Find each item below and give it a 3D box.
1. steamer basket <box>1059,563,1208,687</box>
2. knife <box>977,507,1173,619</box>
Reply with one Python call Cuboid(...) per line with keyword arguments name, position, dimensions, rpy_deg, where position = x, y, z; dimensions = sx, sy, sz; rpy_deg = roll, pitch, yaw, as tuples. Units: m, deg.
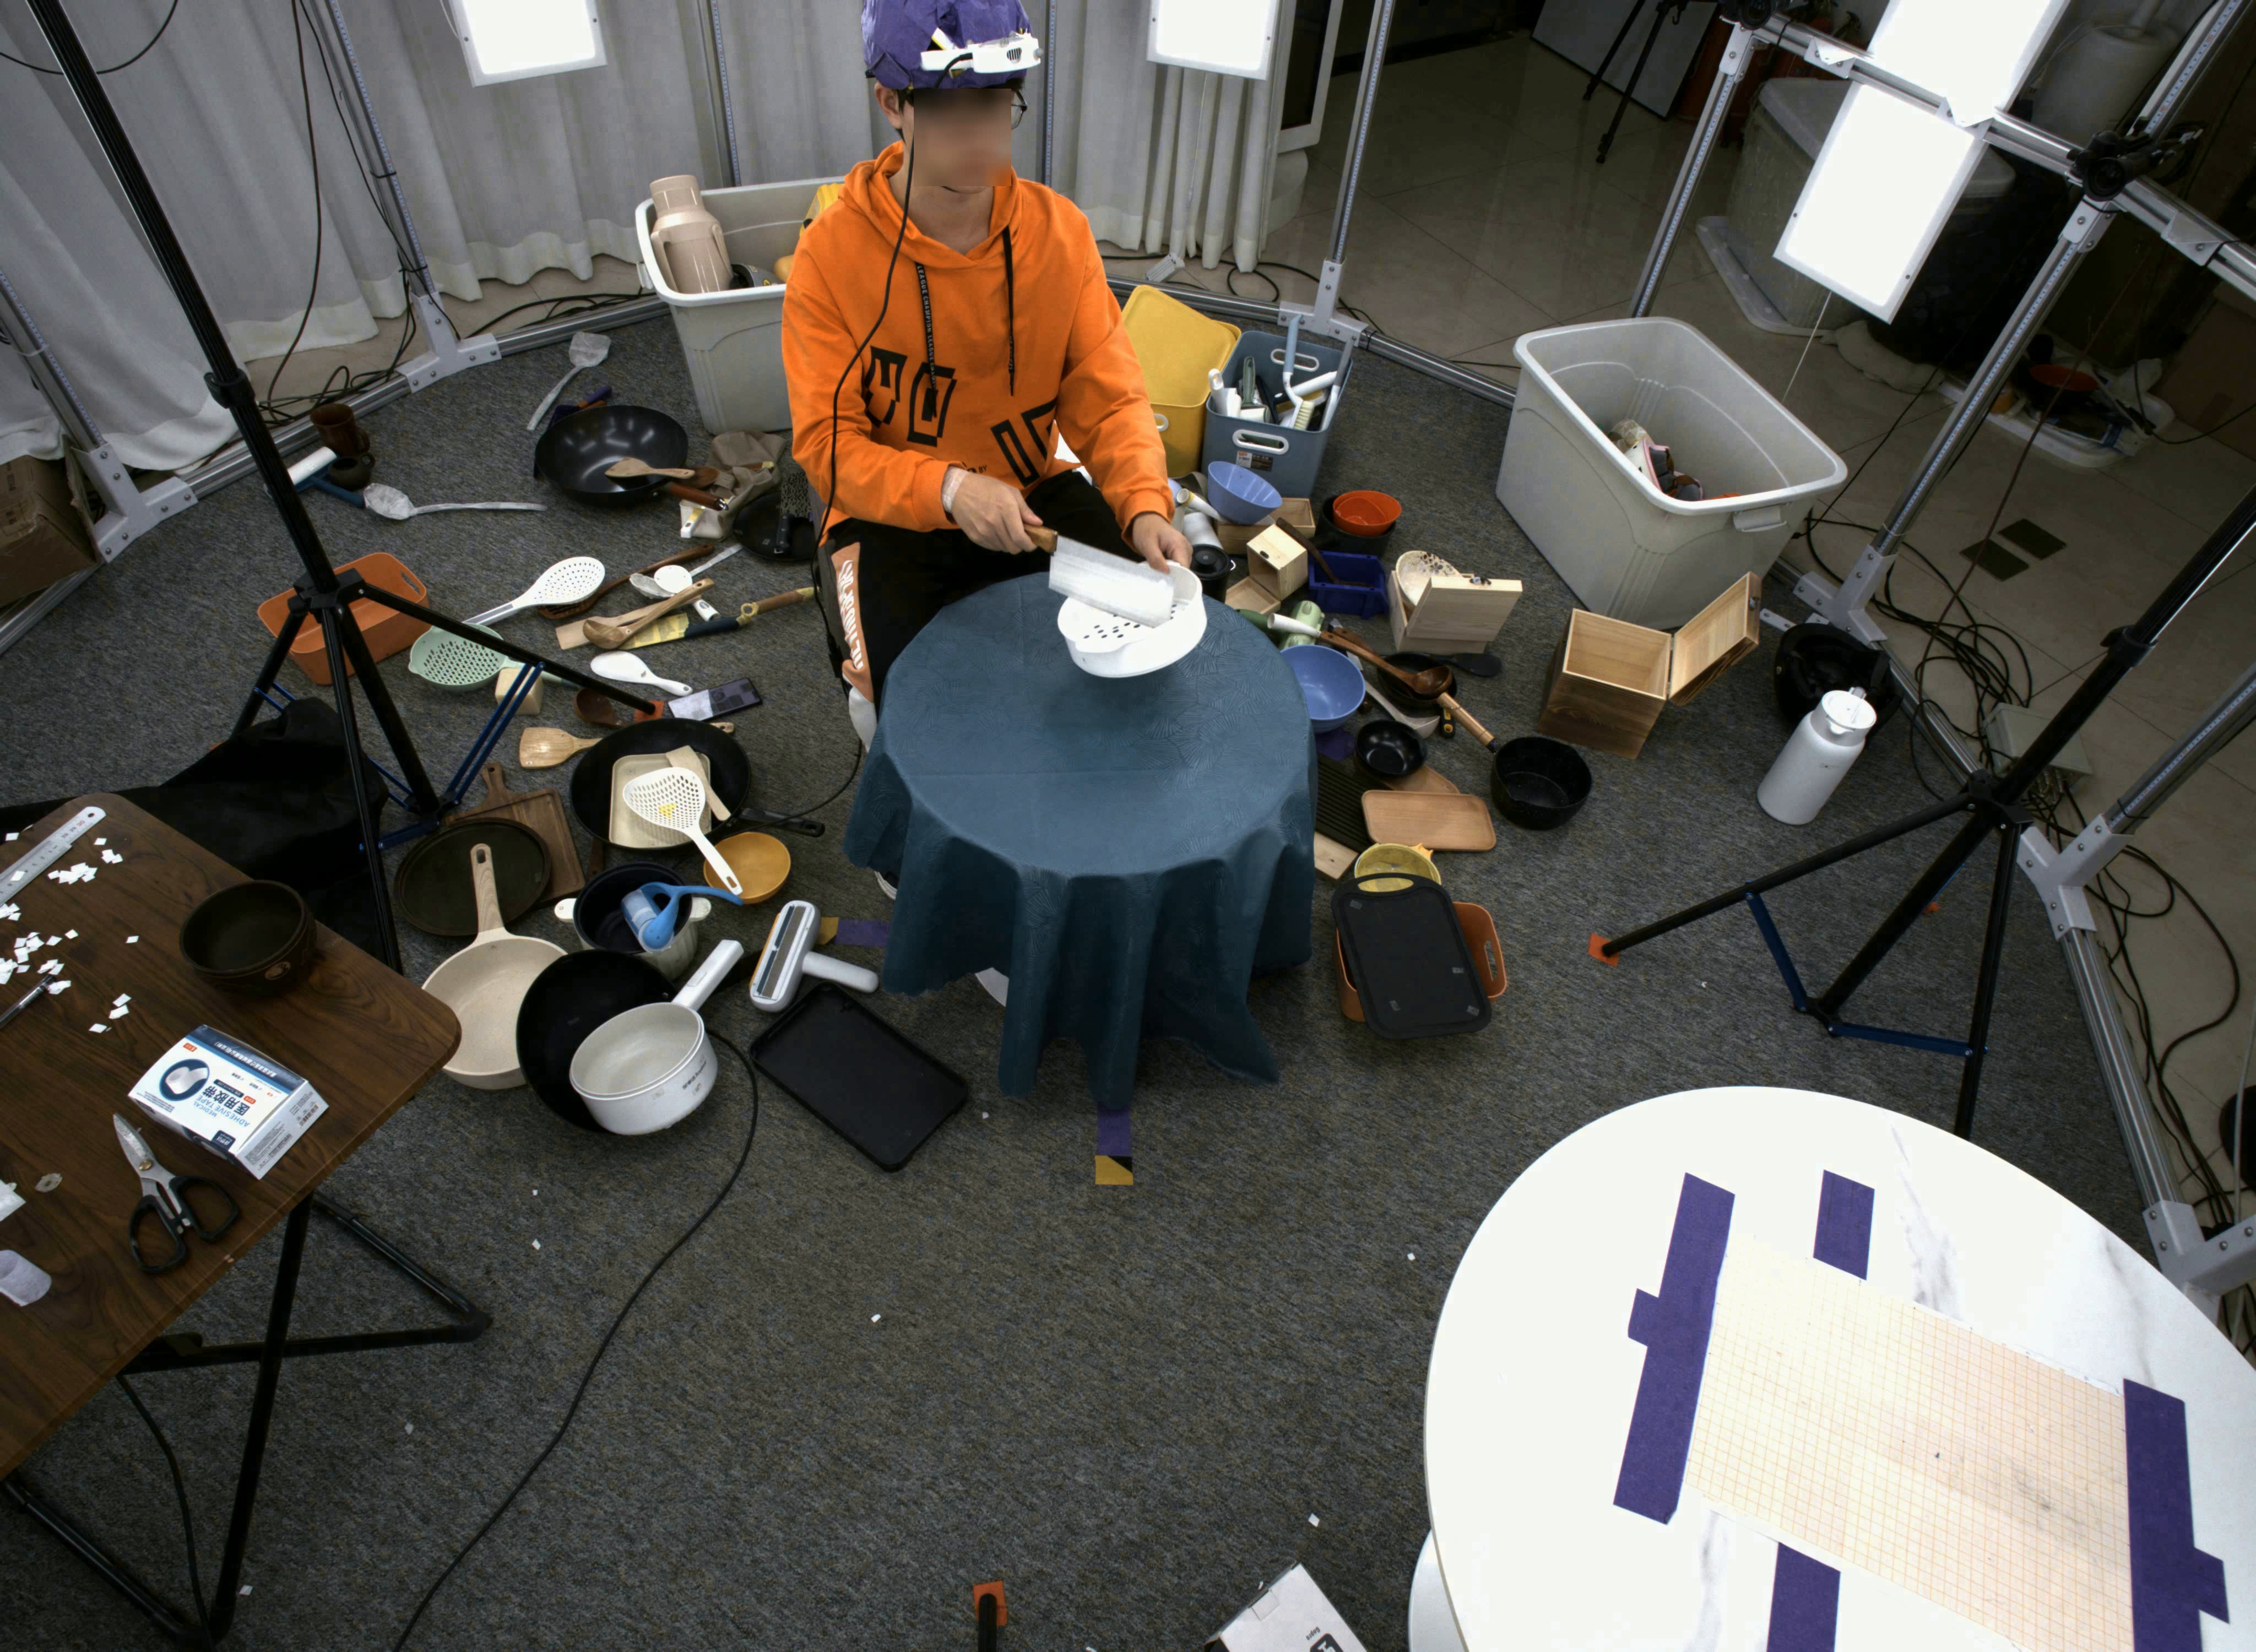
Cuboid(name="steamer basket", position=(0.011, -0.271, 1.752), dimensions=(0.203, 0.067, 0.235), rpy_deg=(7, 45, 24))
Cuboid(name="knife", position=(-0.075, -0.354, 1.752), dimensions=(0.308, 0.091, 0.021), rpy_deg=(23, 45, 20))
